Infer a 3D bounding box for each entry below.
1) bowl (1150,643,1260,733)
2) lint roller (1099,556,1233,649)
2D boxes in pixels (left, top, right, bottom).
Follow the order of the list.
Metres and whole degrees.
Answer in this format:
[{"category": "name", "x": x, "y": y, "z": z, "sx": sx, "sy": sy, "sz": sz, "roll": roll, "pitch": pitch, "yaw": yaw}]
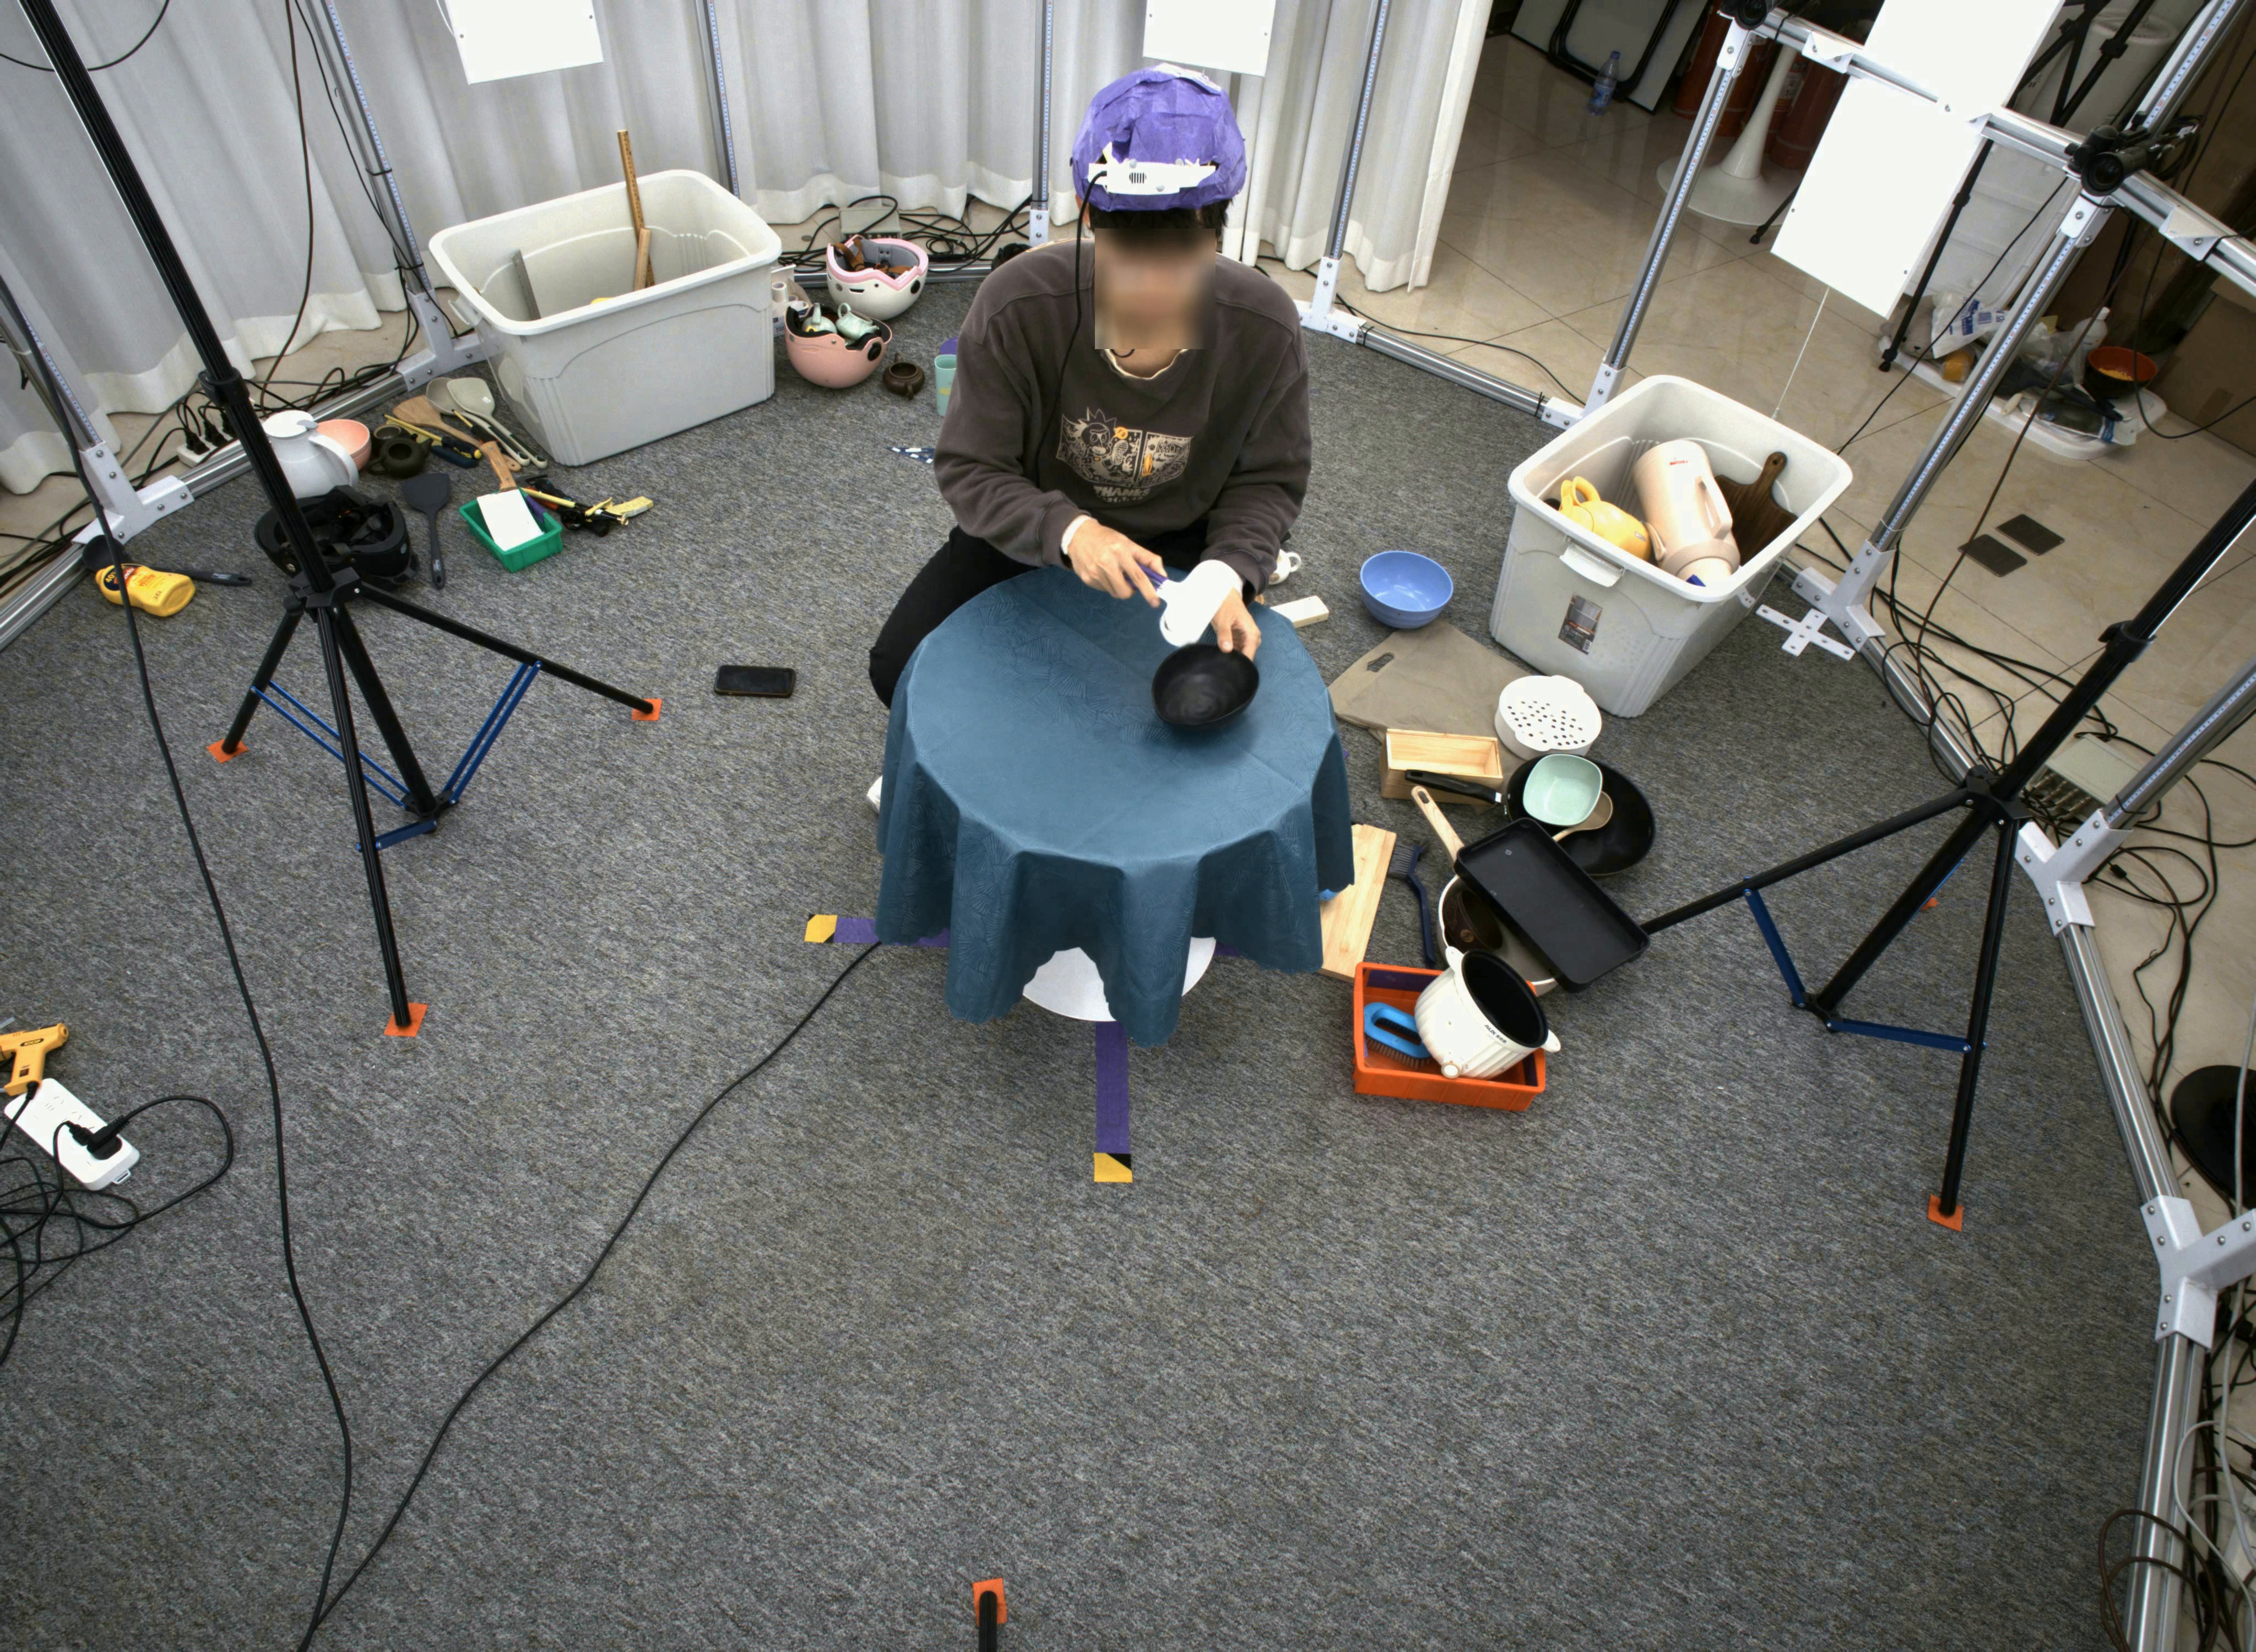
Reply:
[{"category": "bowl", "x": 0.106, "y": -0.180, "z": 1.788, "sx": 0.139, "sy": 0.065, "sz": 0.172, "roll": 32, "pitch": 56, "yaw": 24}, {"category": "lint roller", "x": 0.041, "y": -0.326, "z": 1.720, "sx": 0.182, "sy": 0.049, "sz": 0.134, "roll": 31, "pitch": 71, "yaw": 11}]
